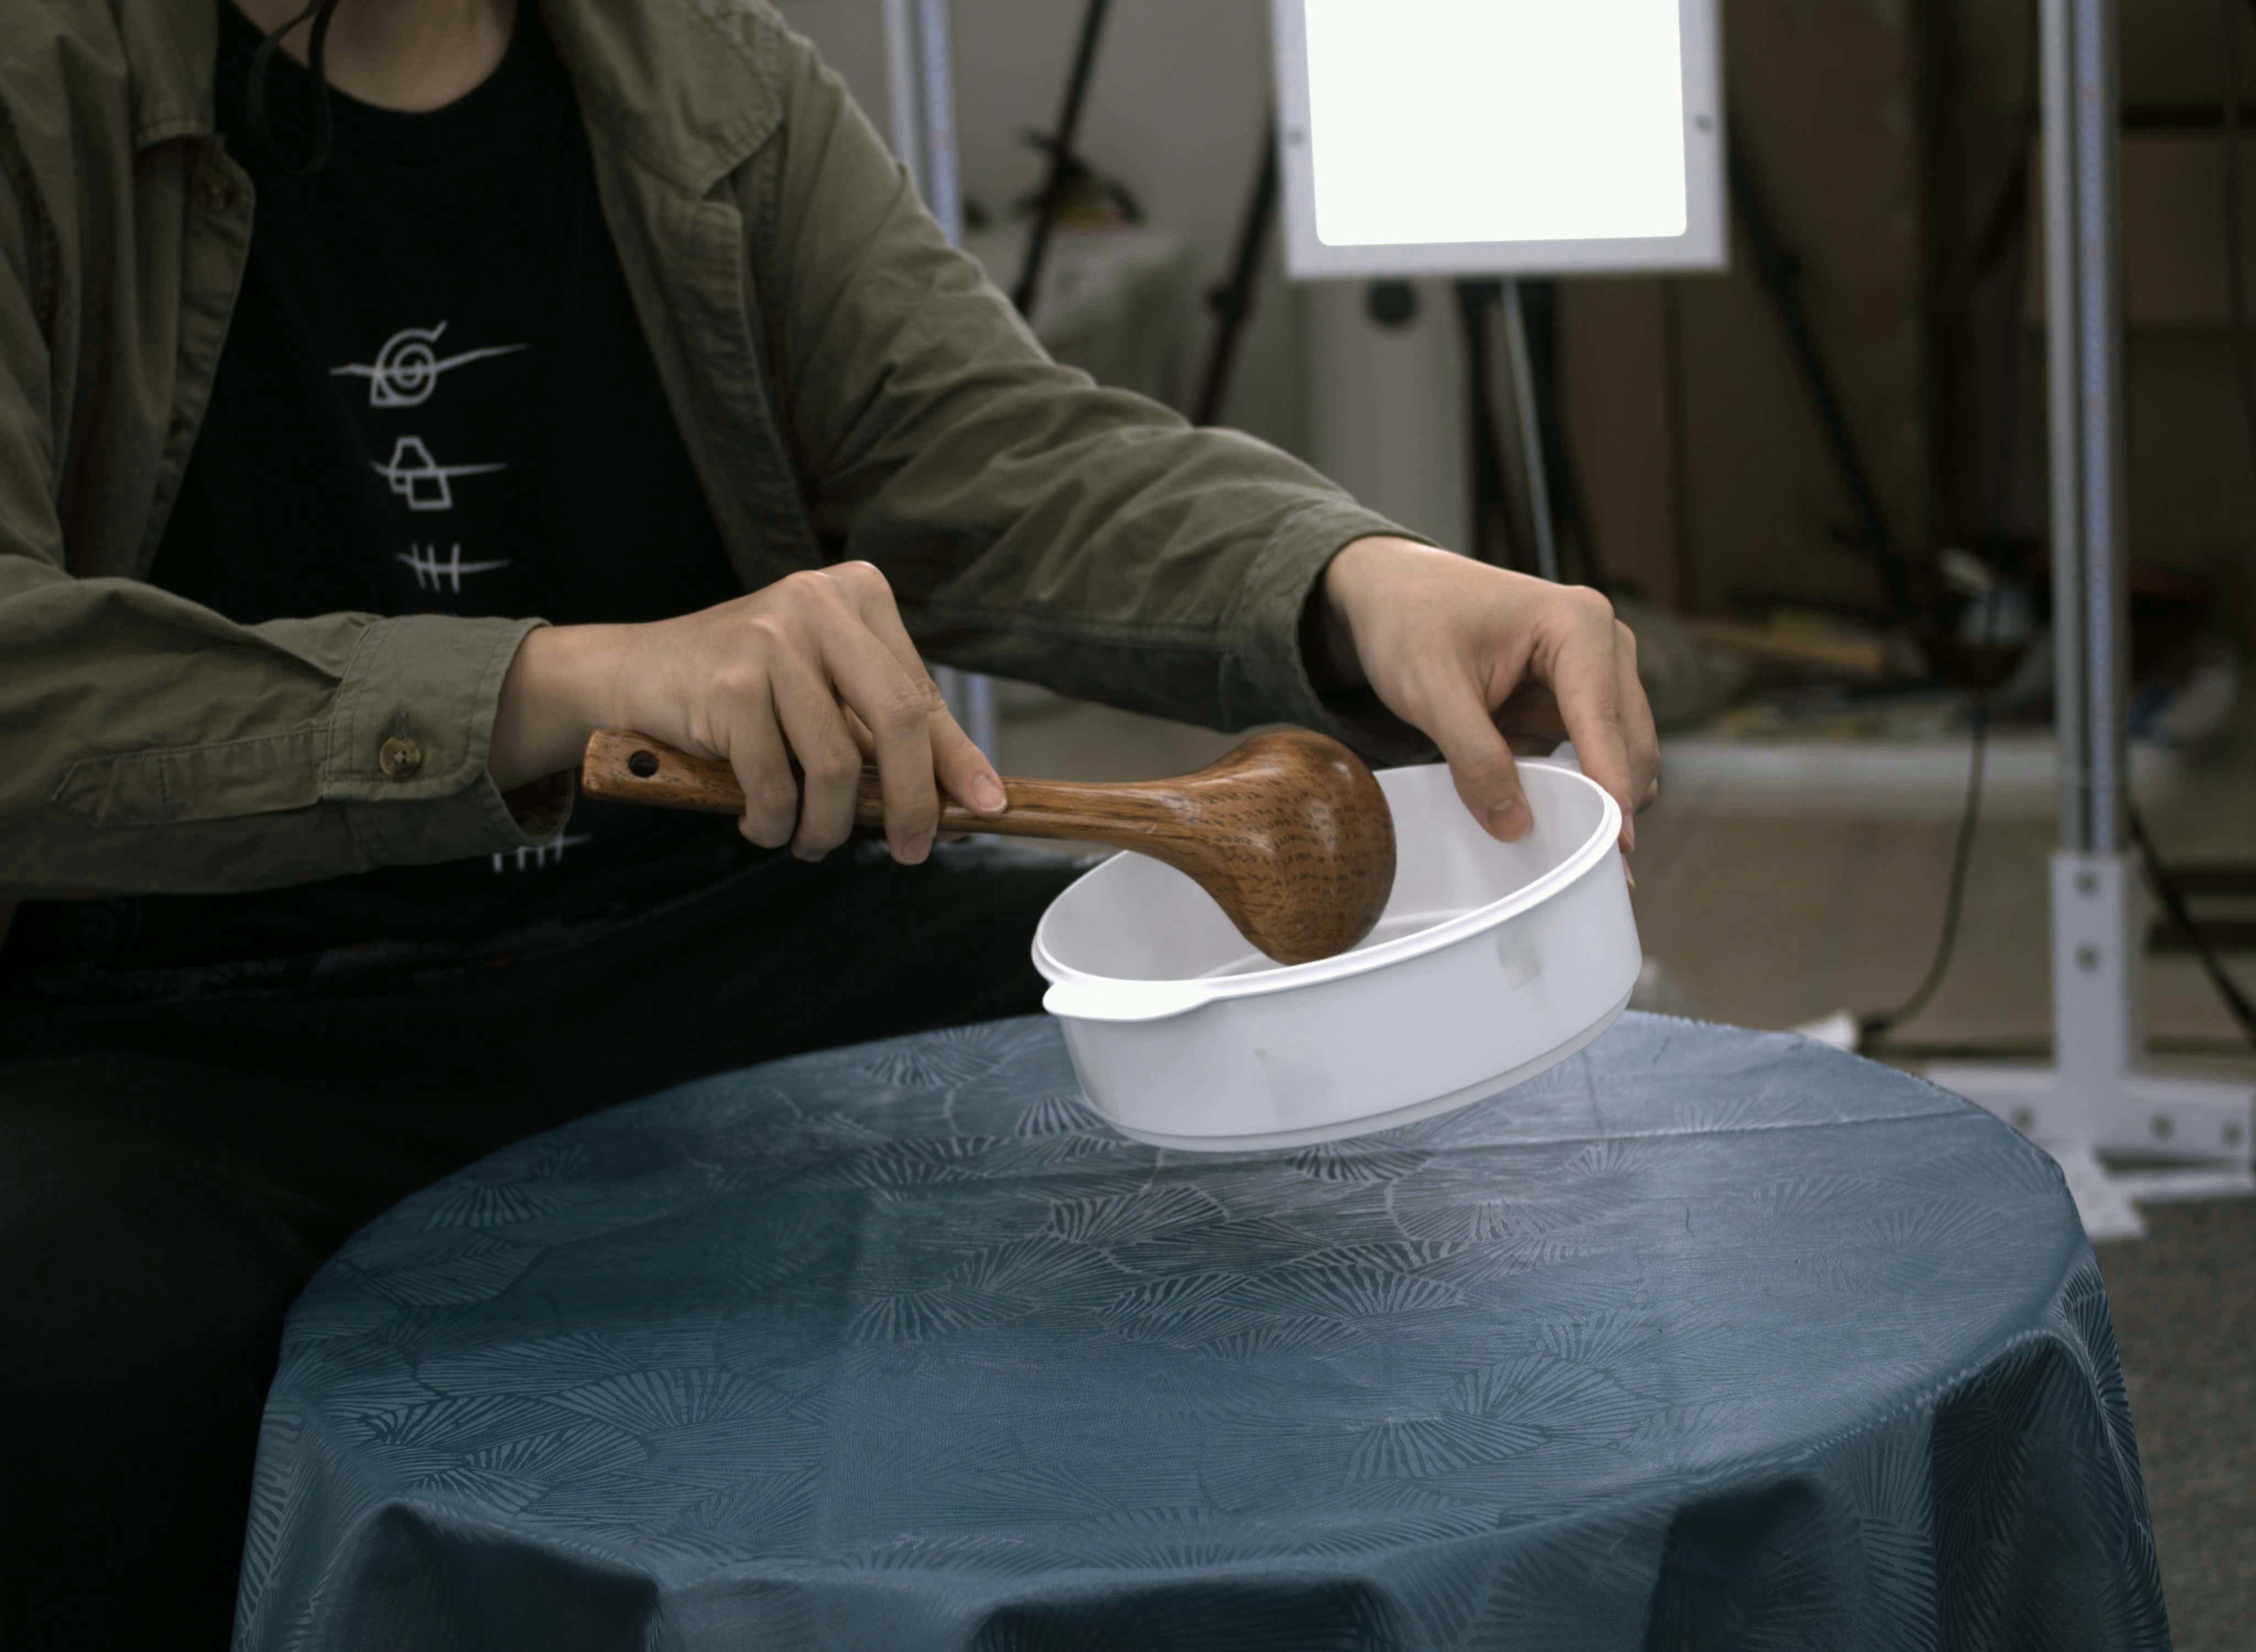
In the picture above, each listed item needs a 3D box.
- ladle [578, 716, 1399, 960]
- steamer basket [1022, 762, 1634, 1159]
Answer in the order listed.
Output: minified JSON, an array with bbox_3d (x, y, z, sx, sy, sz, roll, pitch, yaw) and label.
[{"bbox_3d":[-0.045,-0.006,1.851,0.275,0.082,0.076,5,-16,7],"label":"ladle"},{"bbox_3d":[0.069,0.045,1.820,0.225,0.069,0.206,-28,21,-38],"label":"steamer basket"}]
